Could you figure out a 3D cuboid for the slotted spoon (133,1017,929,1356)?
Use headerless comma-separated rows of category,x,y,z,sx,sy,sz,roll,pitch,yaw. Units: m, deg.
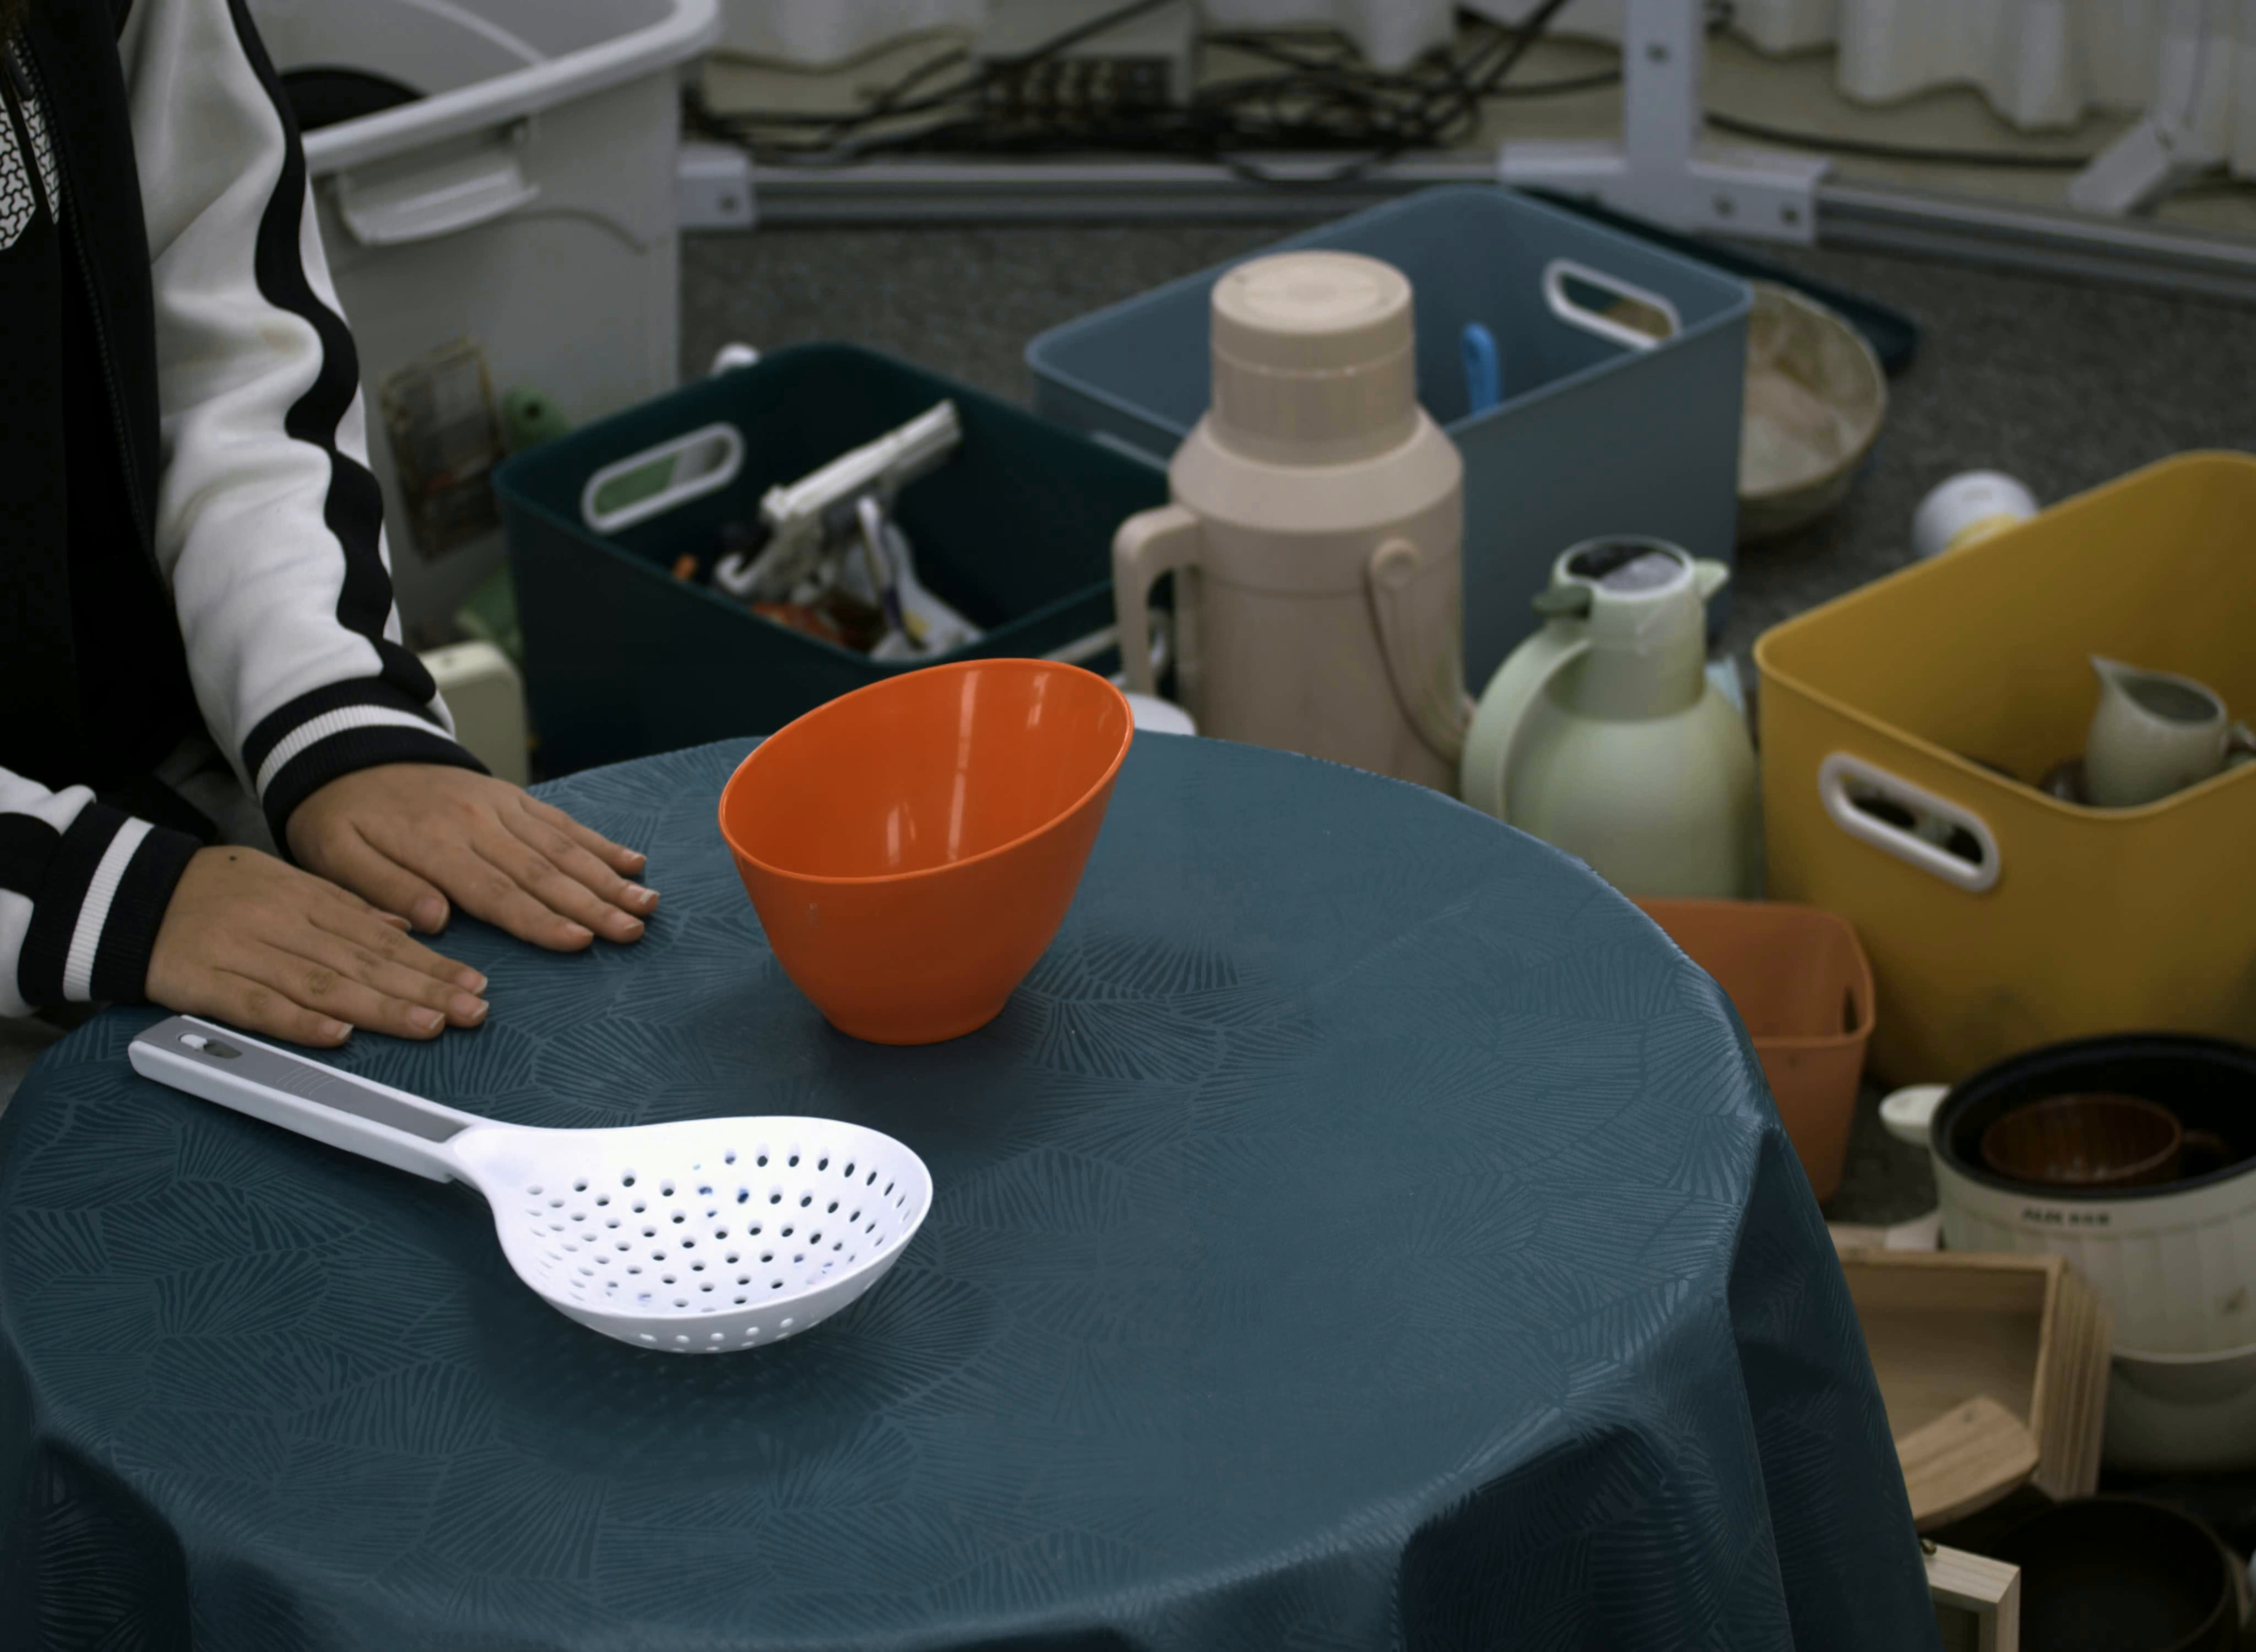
slotted spoon,-0.210,0.111,1.855,0.348,0.045,0.138,19,33,37

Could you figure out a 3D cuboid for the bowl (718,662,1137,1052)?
bowl,-0.067,0.017,1.963,0.147,0.103,0.150,-3,29,2
